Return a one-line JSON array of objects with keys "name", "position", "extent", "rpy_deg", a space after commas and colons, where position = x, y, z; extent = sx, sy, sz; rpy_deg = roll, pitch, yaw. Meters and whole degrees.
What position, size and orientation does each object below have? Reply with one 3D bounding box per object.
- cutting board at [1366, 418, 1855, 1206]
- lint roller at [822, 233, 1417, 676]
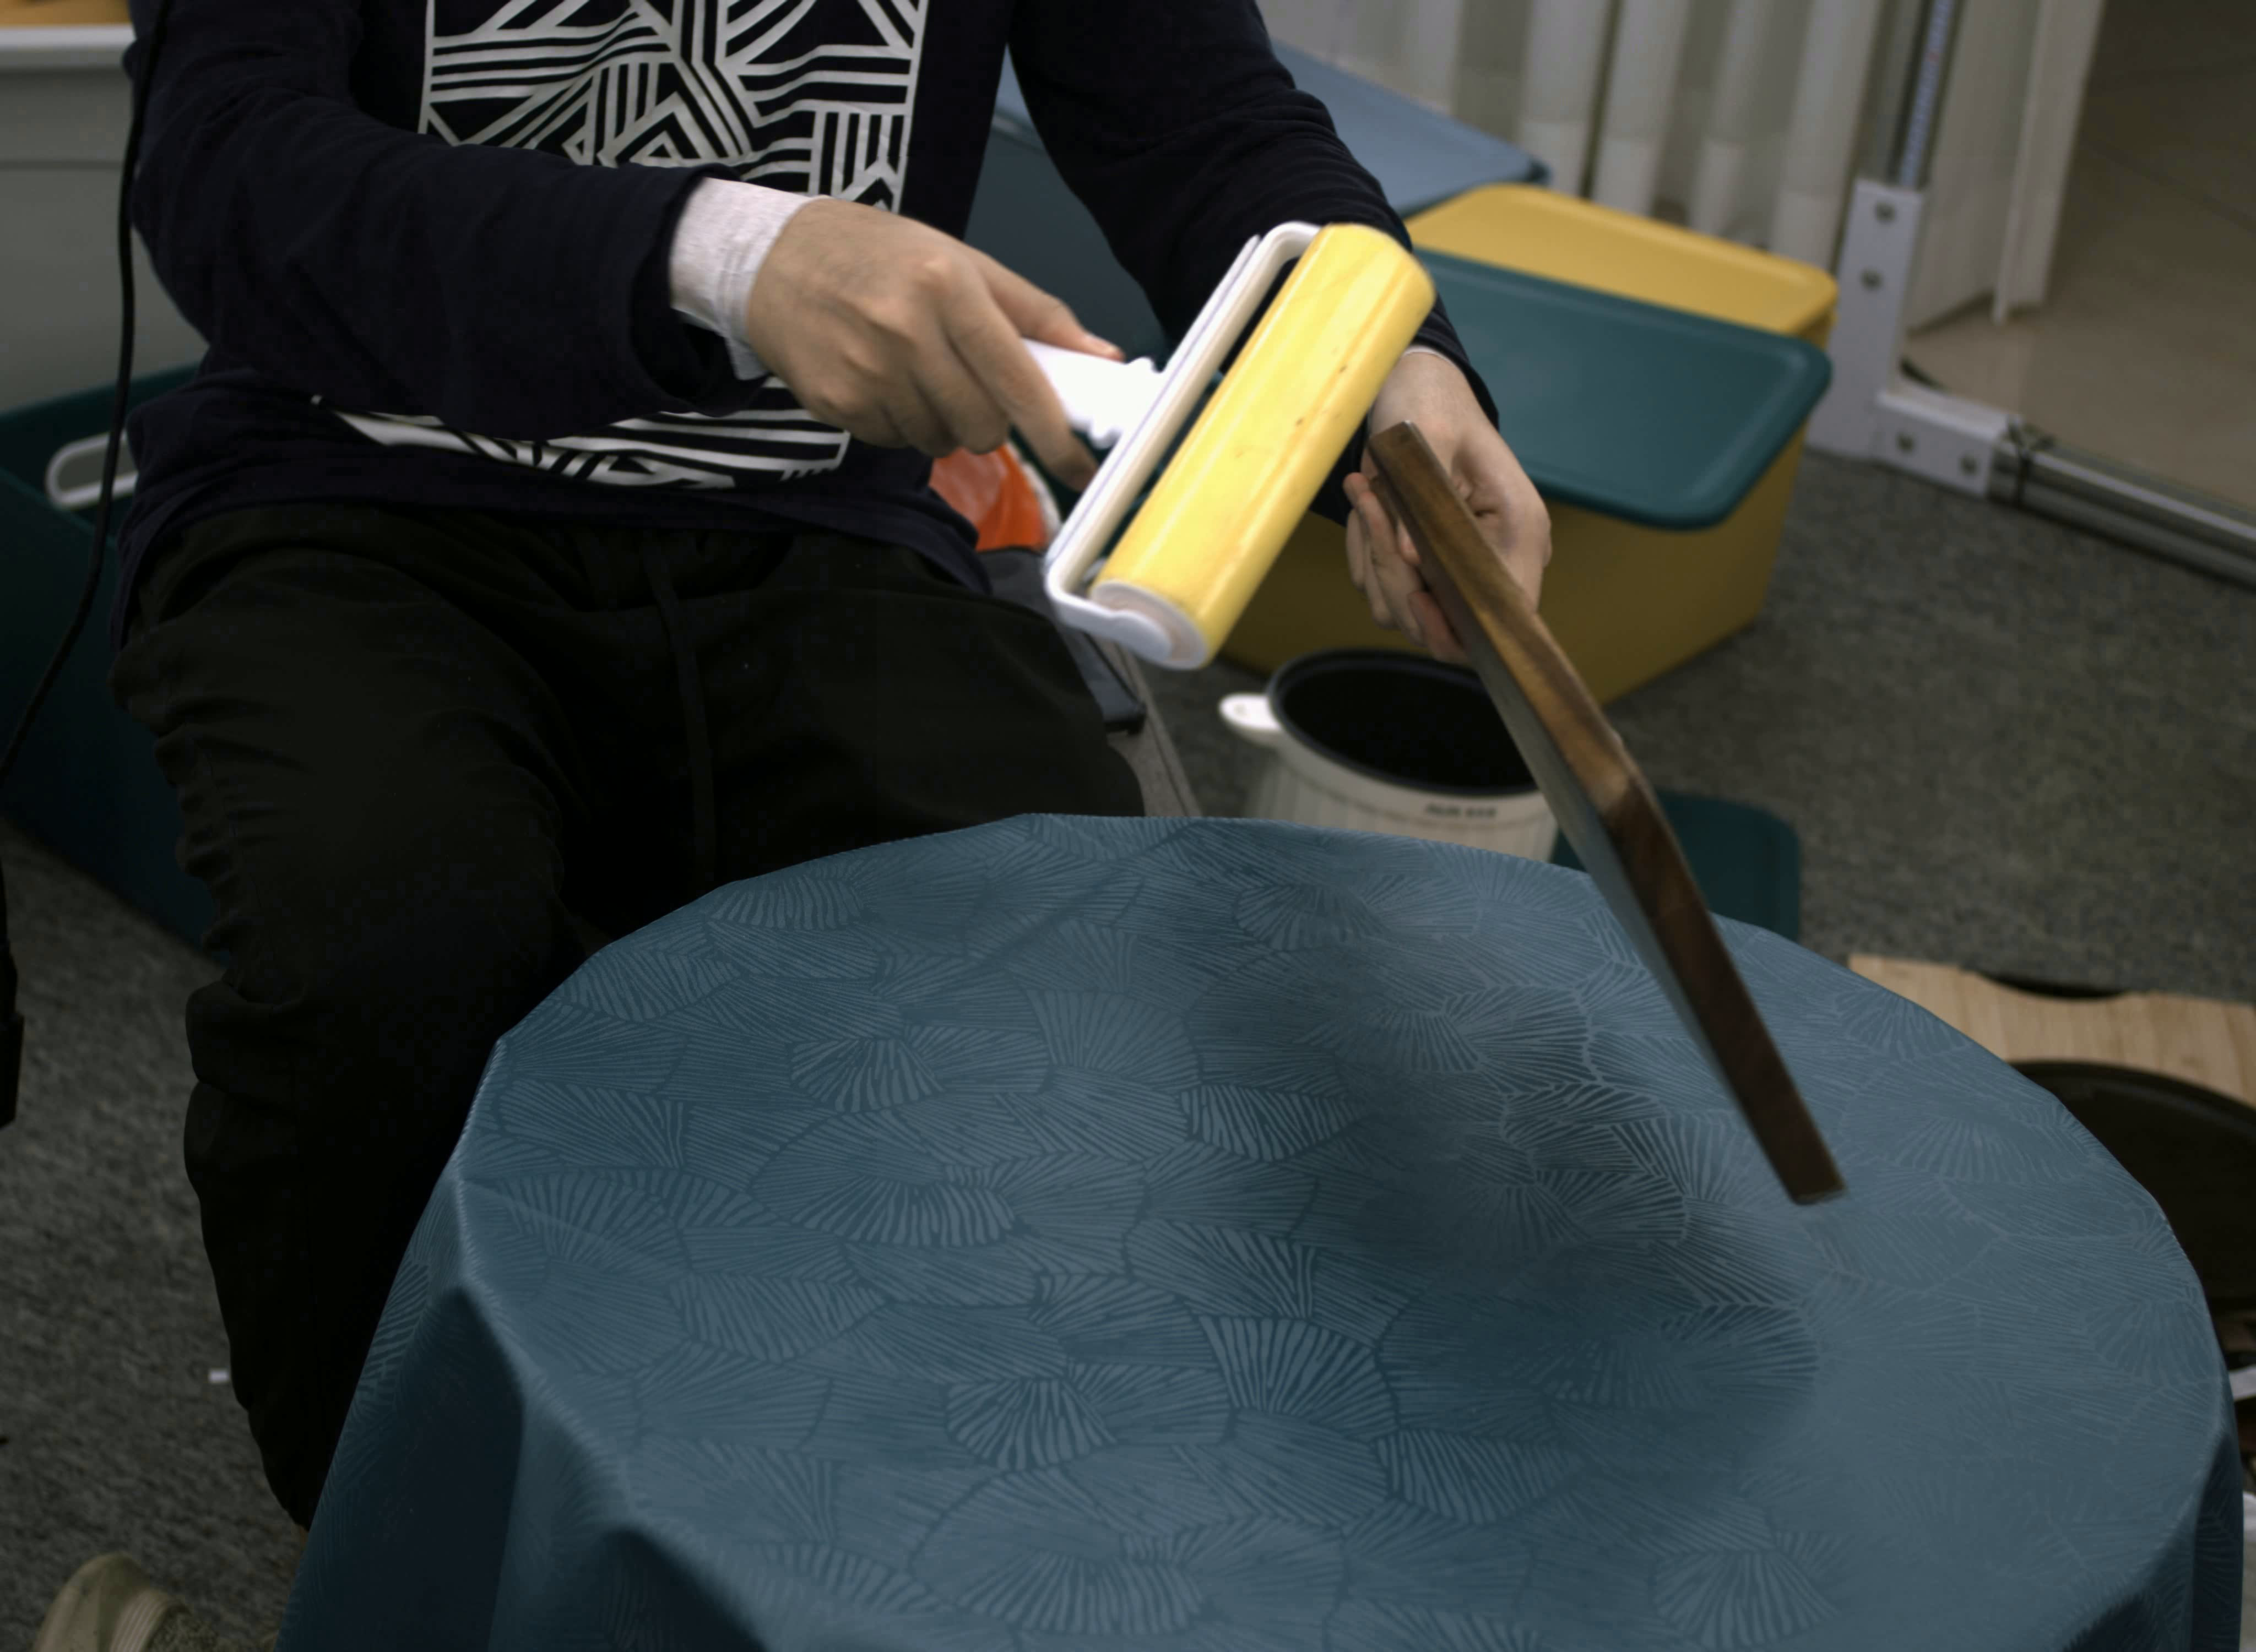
[{"name": "cutting board", "position": [0.149, -0.033, 1.847], "extent": [0.023, 0.199, 0.355], "rpy_deg": [-29, 35, 1]}, {"name": "lint roller", "position": [-0.022, -0.151, 1.820], "extent": [0.192, 0.051, 0.175], "rpy_deg": [23, 63, 17]}]
